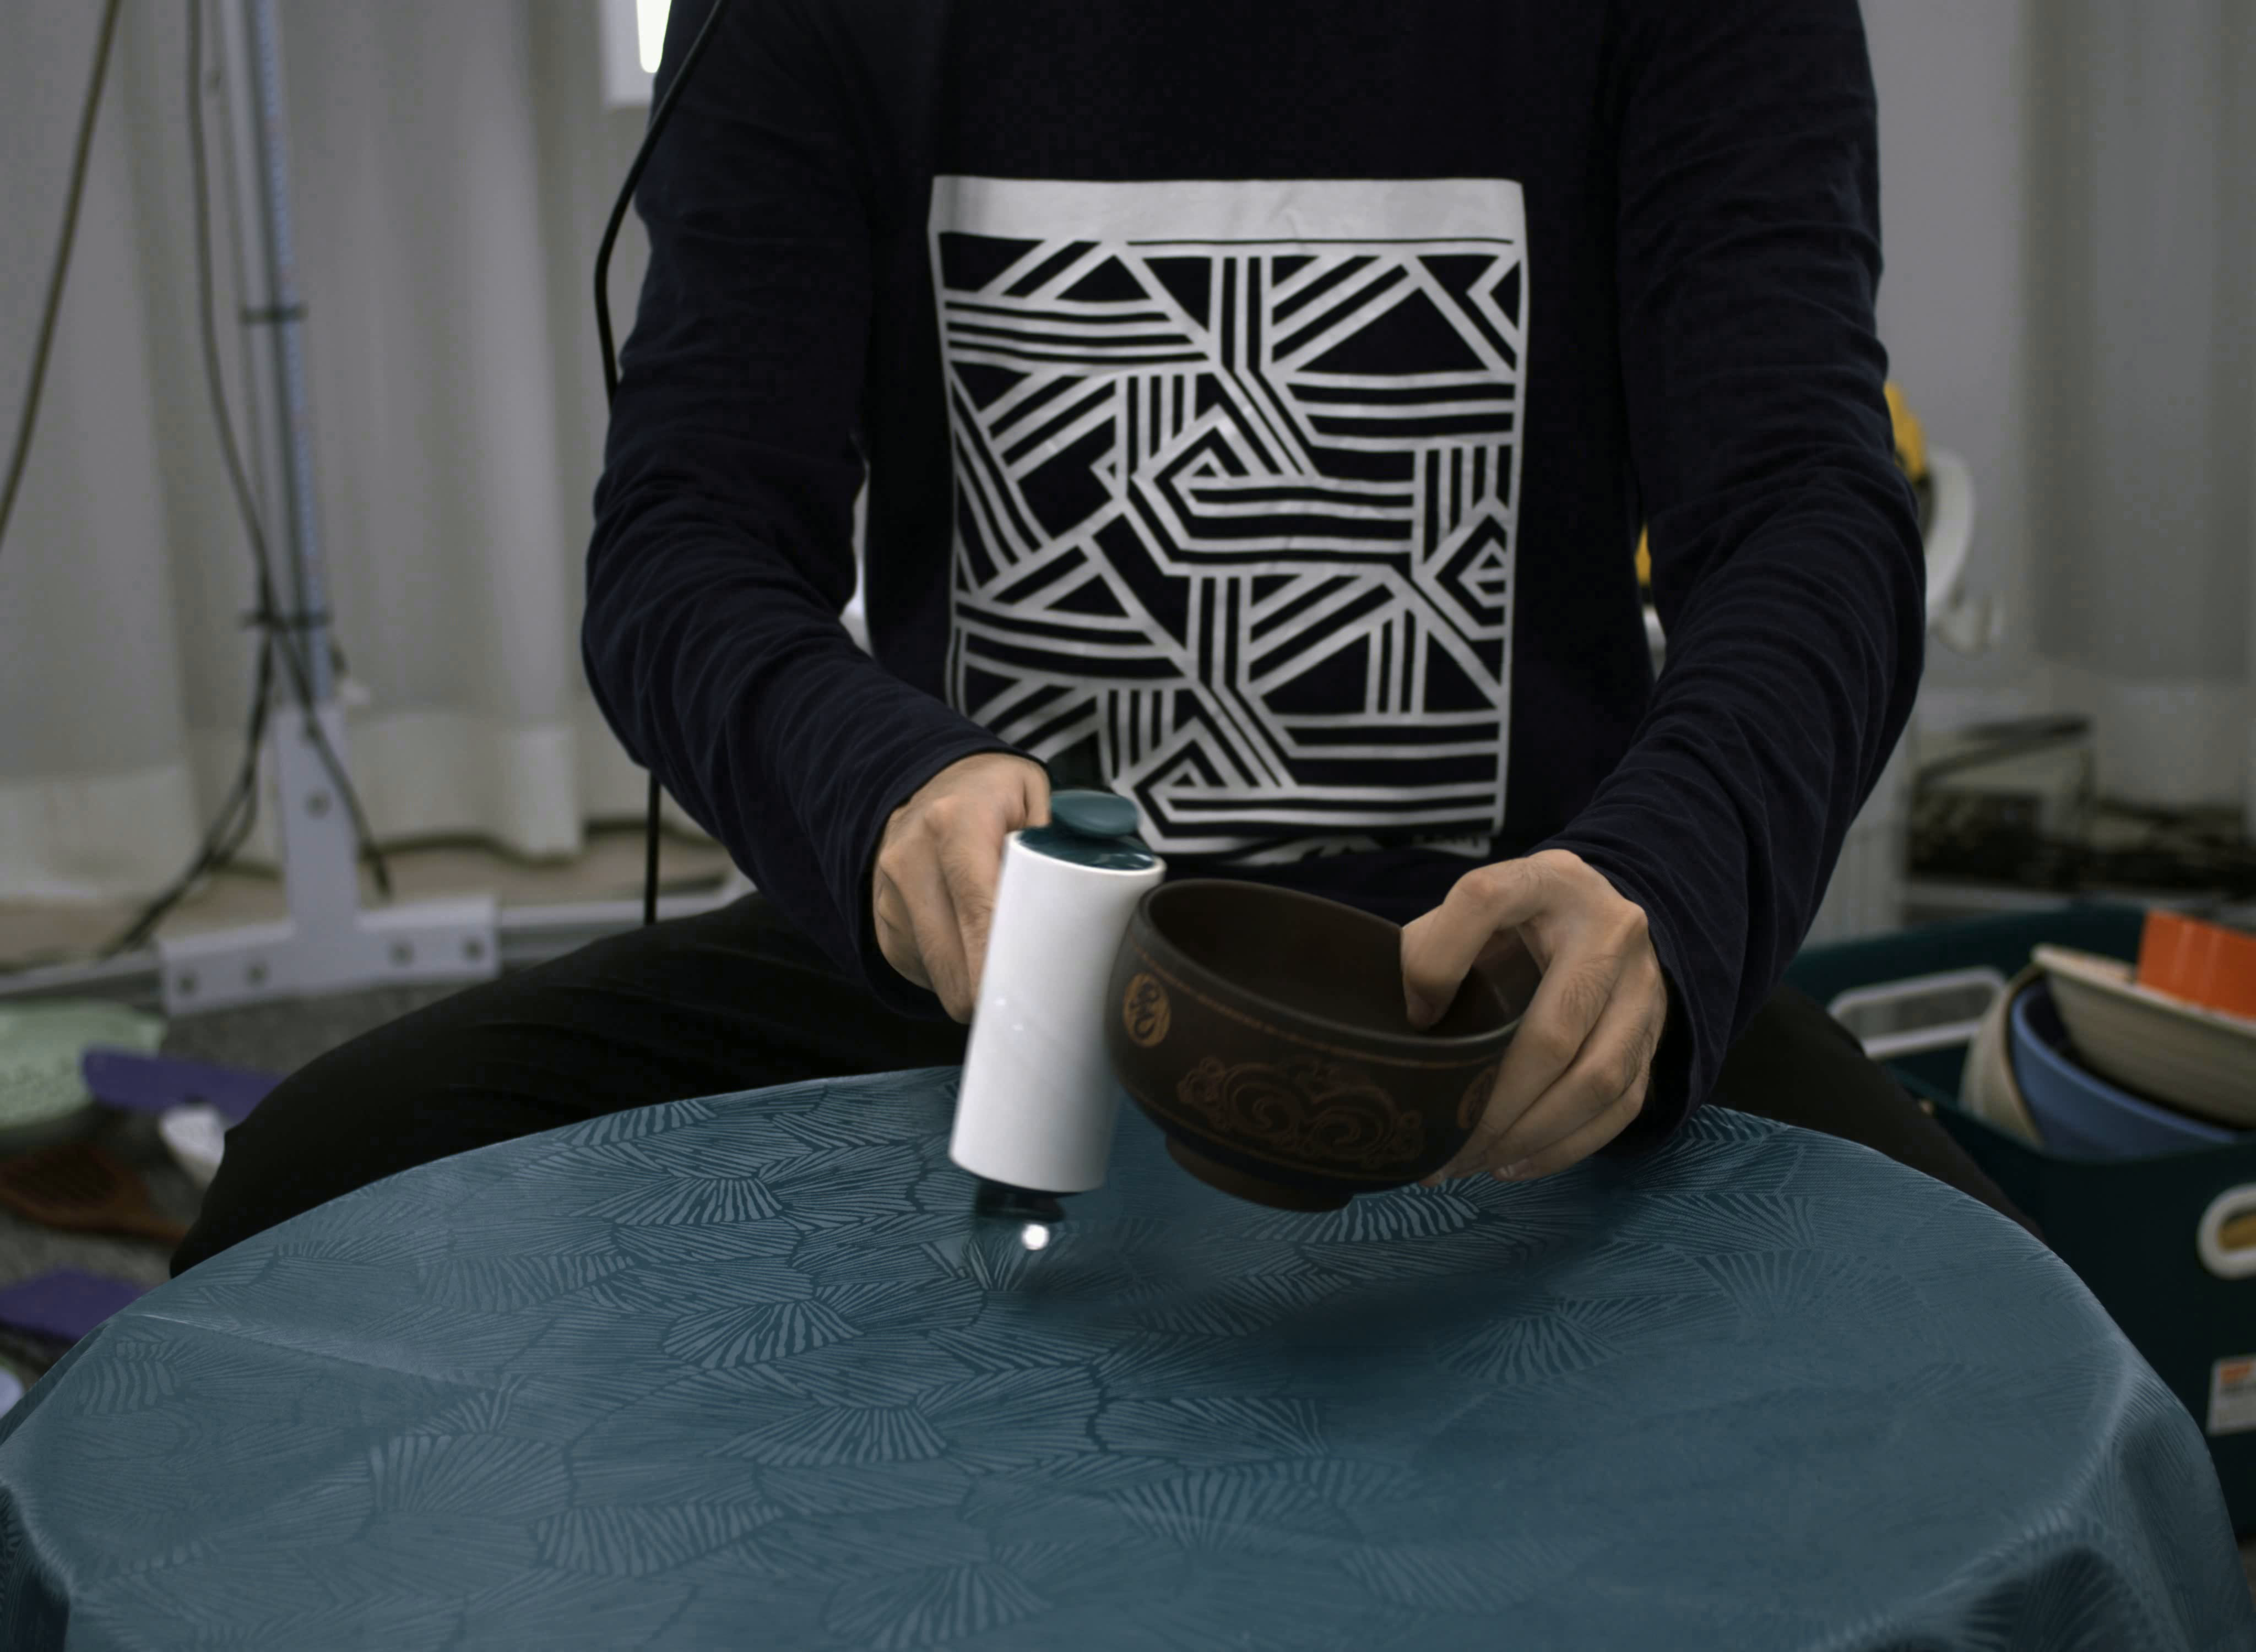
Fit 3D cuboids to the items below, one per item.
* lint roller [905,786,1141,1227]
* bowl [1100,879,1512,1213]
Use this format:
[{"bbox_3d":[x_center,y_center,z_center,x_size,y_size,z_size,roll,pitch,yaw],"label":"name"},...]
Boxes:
[{"bbox_3d":[-0.036,0.041,1.681,0.048,0.134,0.181,14,9,-8],"label":"lint roller"},{"bbox_3d":[0.047,0.069,1.582,0.117,0.069,0.119,14,16,-4],"label":"bowl"}]
